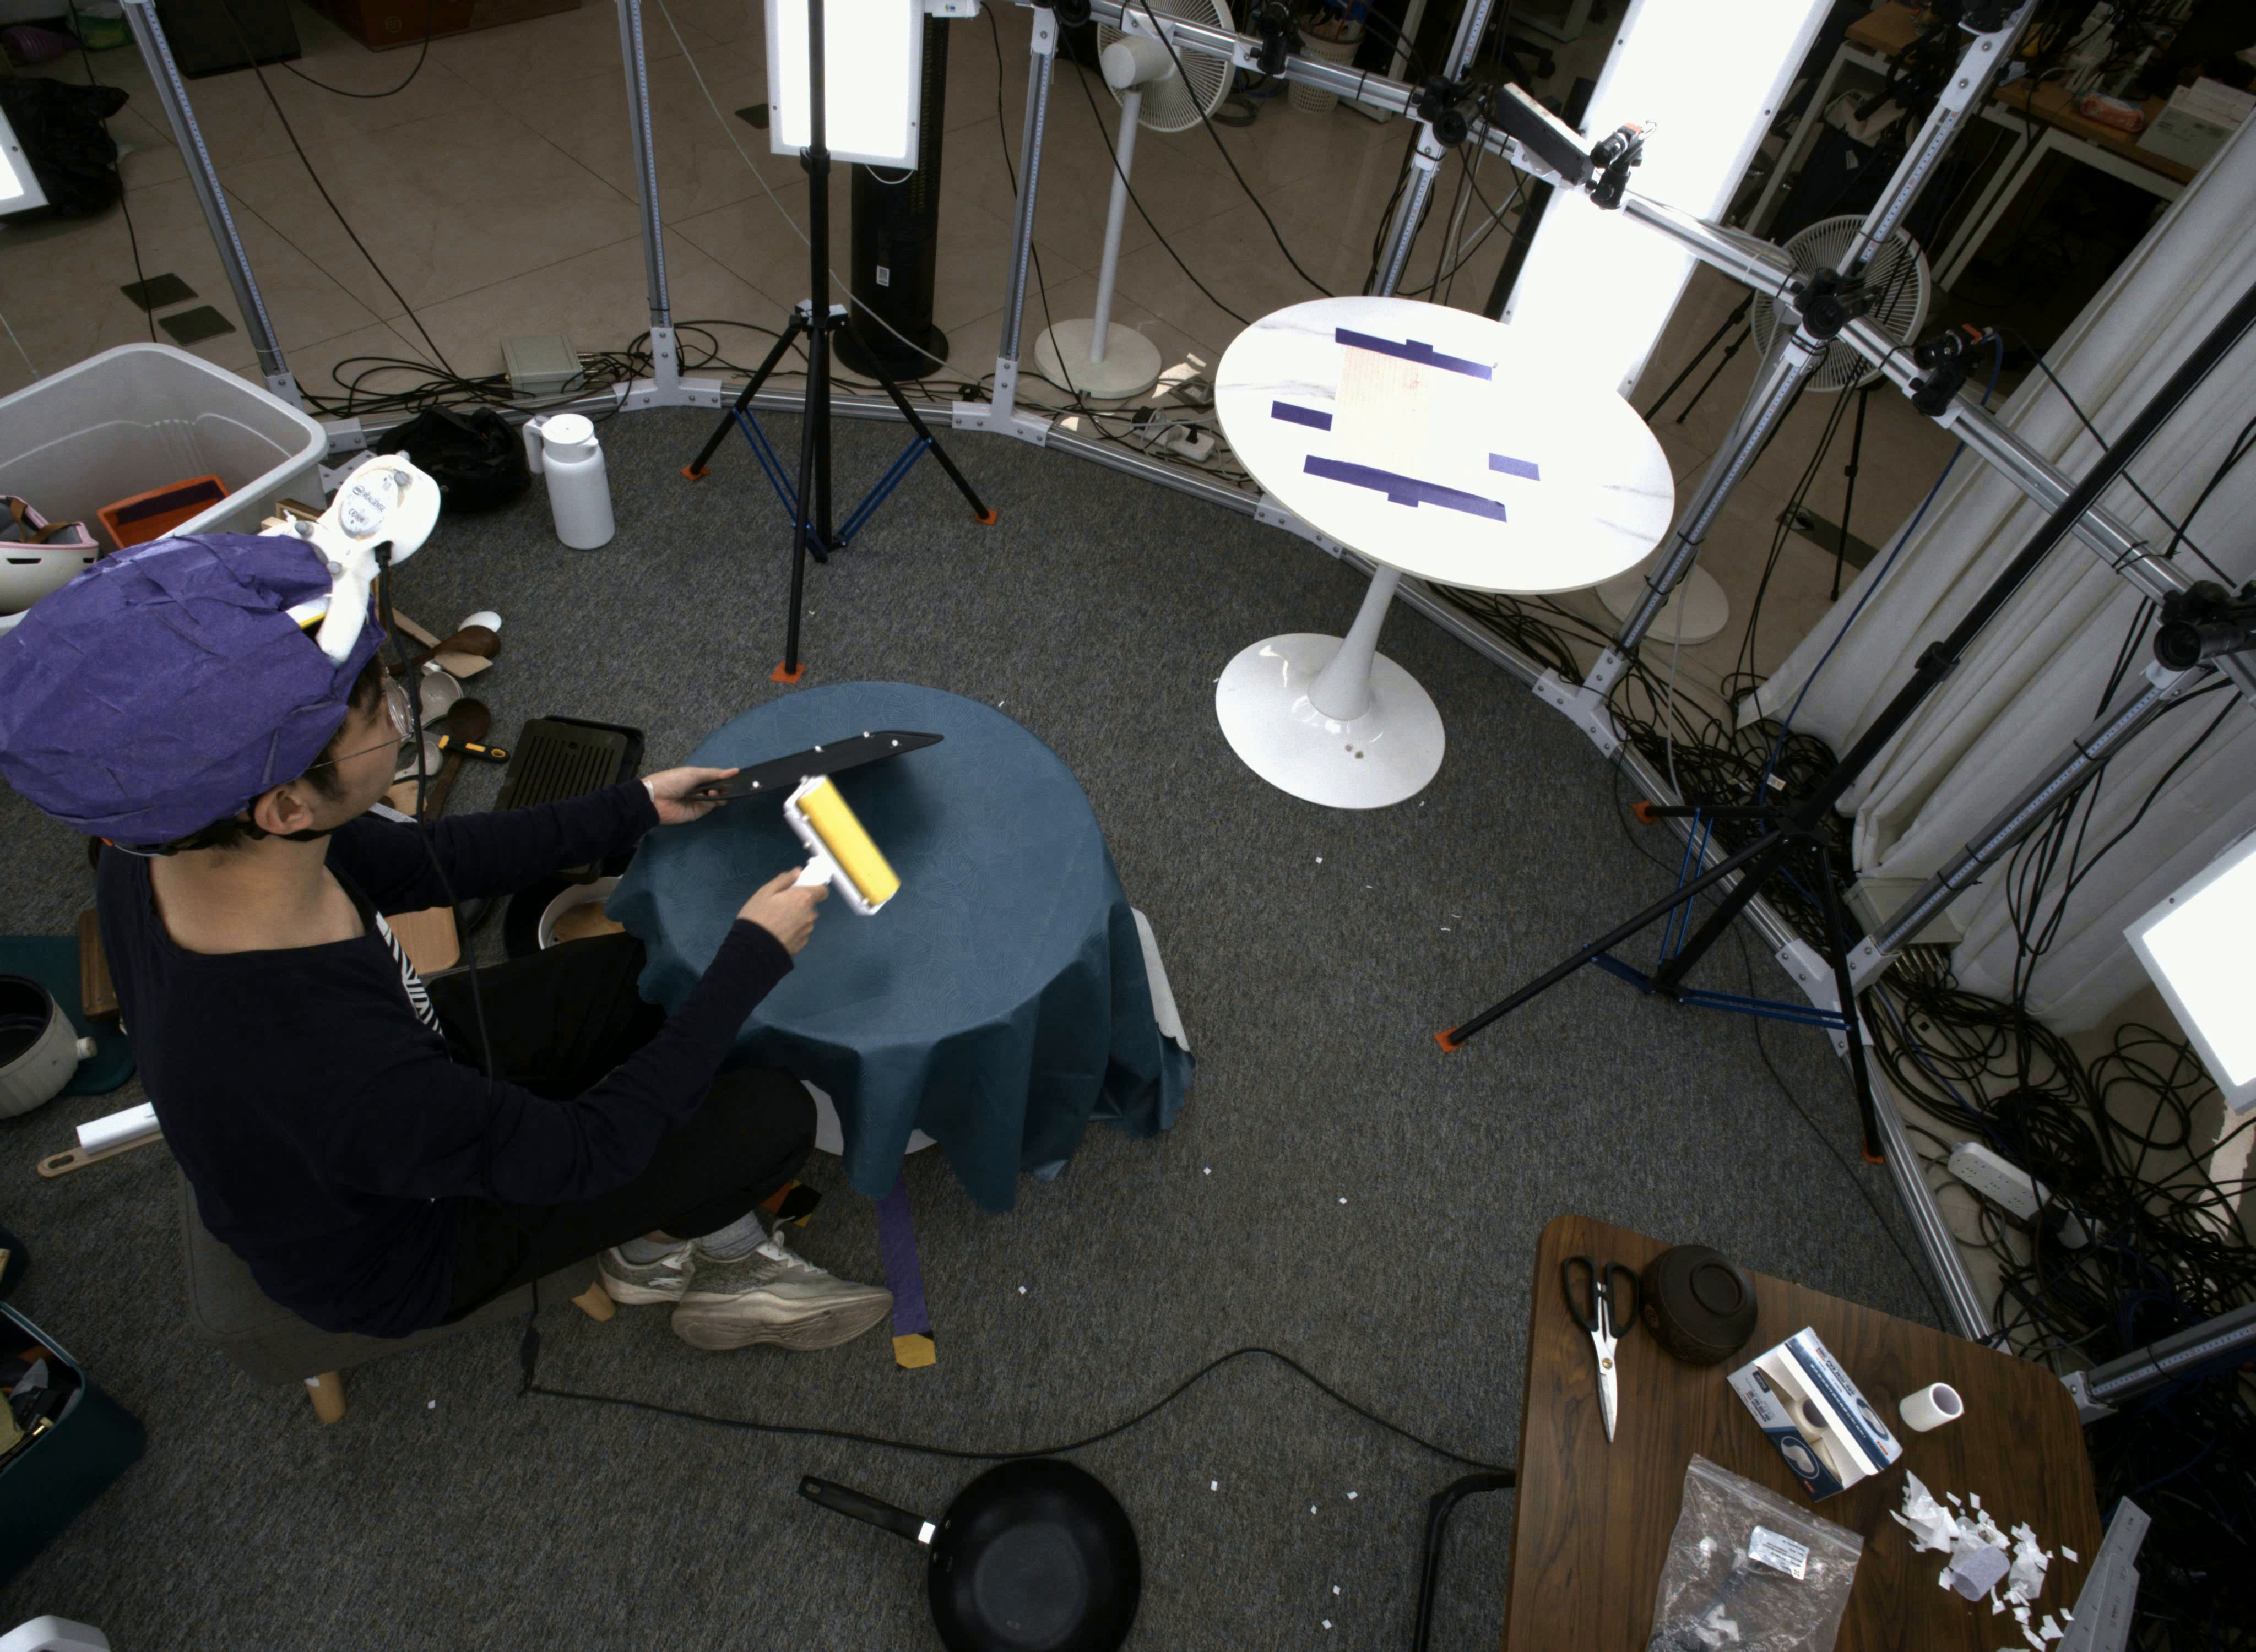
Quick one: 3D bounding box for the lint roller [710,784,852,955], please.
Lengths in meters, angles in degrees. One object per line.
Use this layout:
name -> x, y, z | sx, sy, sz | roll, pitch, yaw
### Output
lint roller -> -0.411, 0.070, 1.472 | 0.180, 0.050, 0.189 | 56, 32, -26

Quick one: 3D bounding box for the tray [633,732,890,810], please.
tray -> -0.476, -0.076, 1.662 | 0.328, 0.010, 0.204 | -23, 18, -36
